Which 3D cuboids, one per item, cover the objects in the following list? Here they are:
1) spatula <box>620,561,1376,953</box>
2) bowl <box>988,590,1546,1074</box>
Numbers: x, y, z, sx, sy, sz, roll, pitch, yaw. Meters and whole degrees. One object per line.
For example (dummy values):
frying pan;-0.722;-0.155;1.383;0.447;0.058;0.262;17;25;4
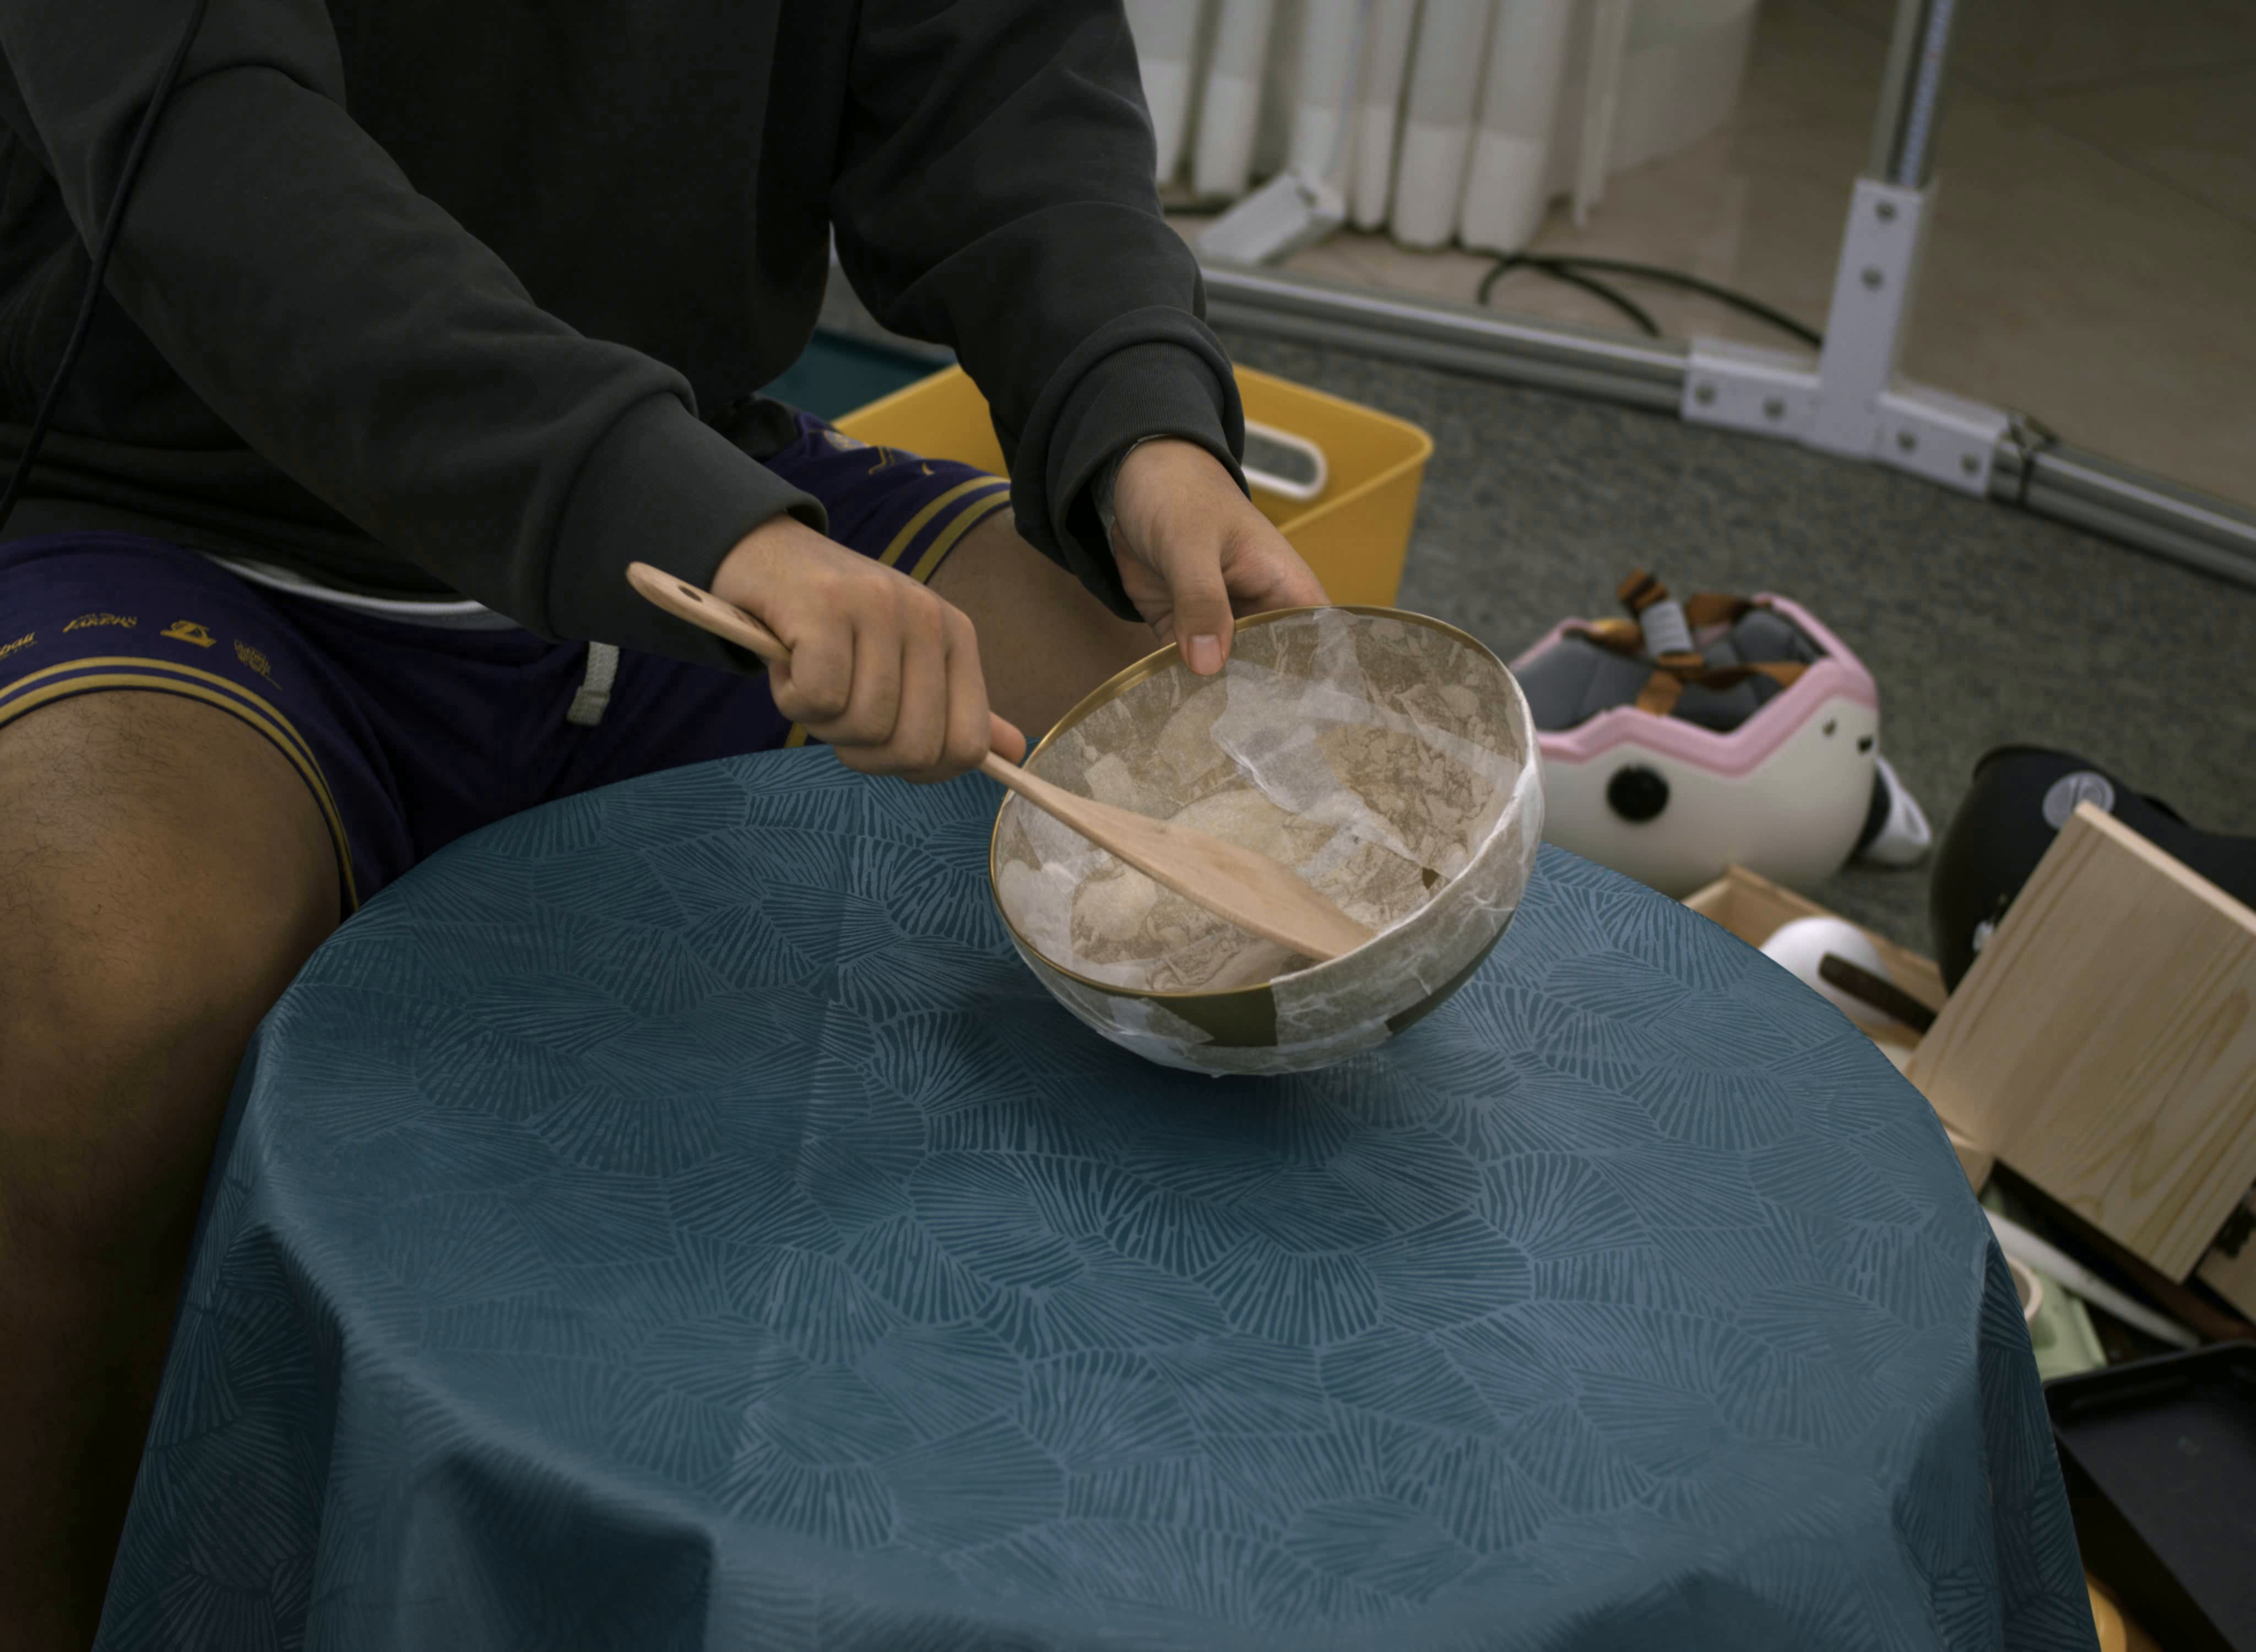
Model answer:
spatula;-0.041;-0.023;1.830;0.324;0.016;0.080;28;15;-32
bowl;0.057;0.016;1.894;0.214;0.094;0.216;-15;40;12
